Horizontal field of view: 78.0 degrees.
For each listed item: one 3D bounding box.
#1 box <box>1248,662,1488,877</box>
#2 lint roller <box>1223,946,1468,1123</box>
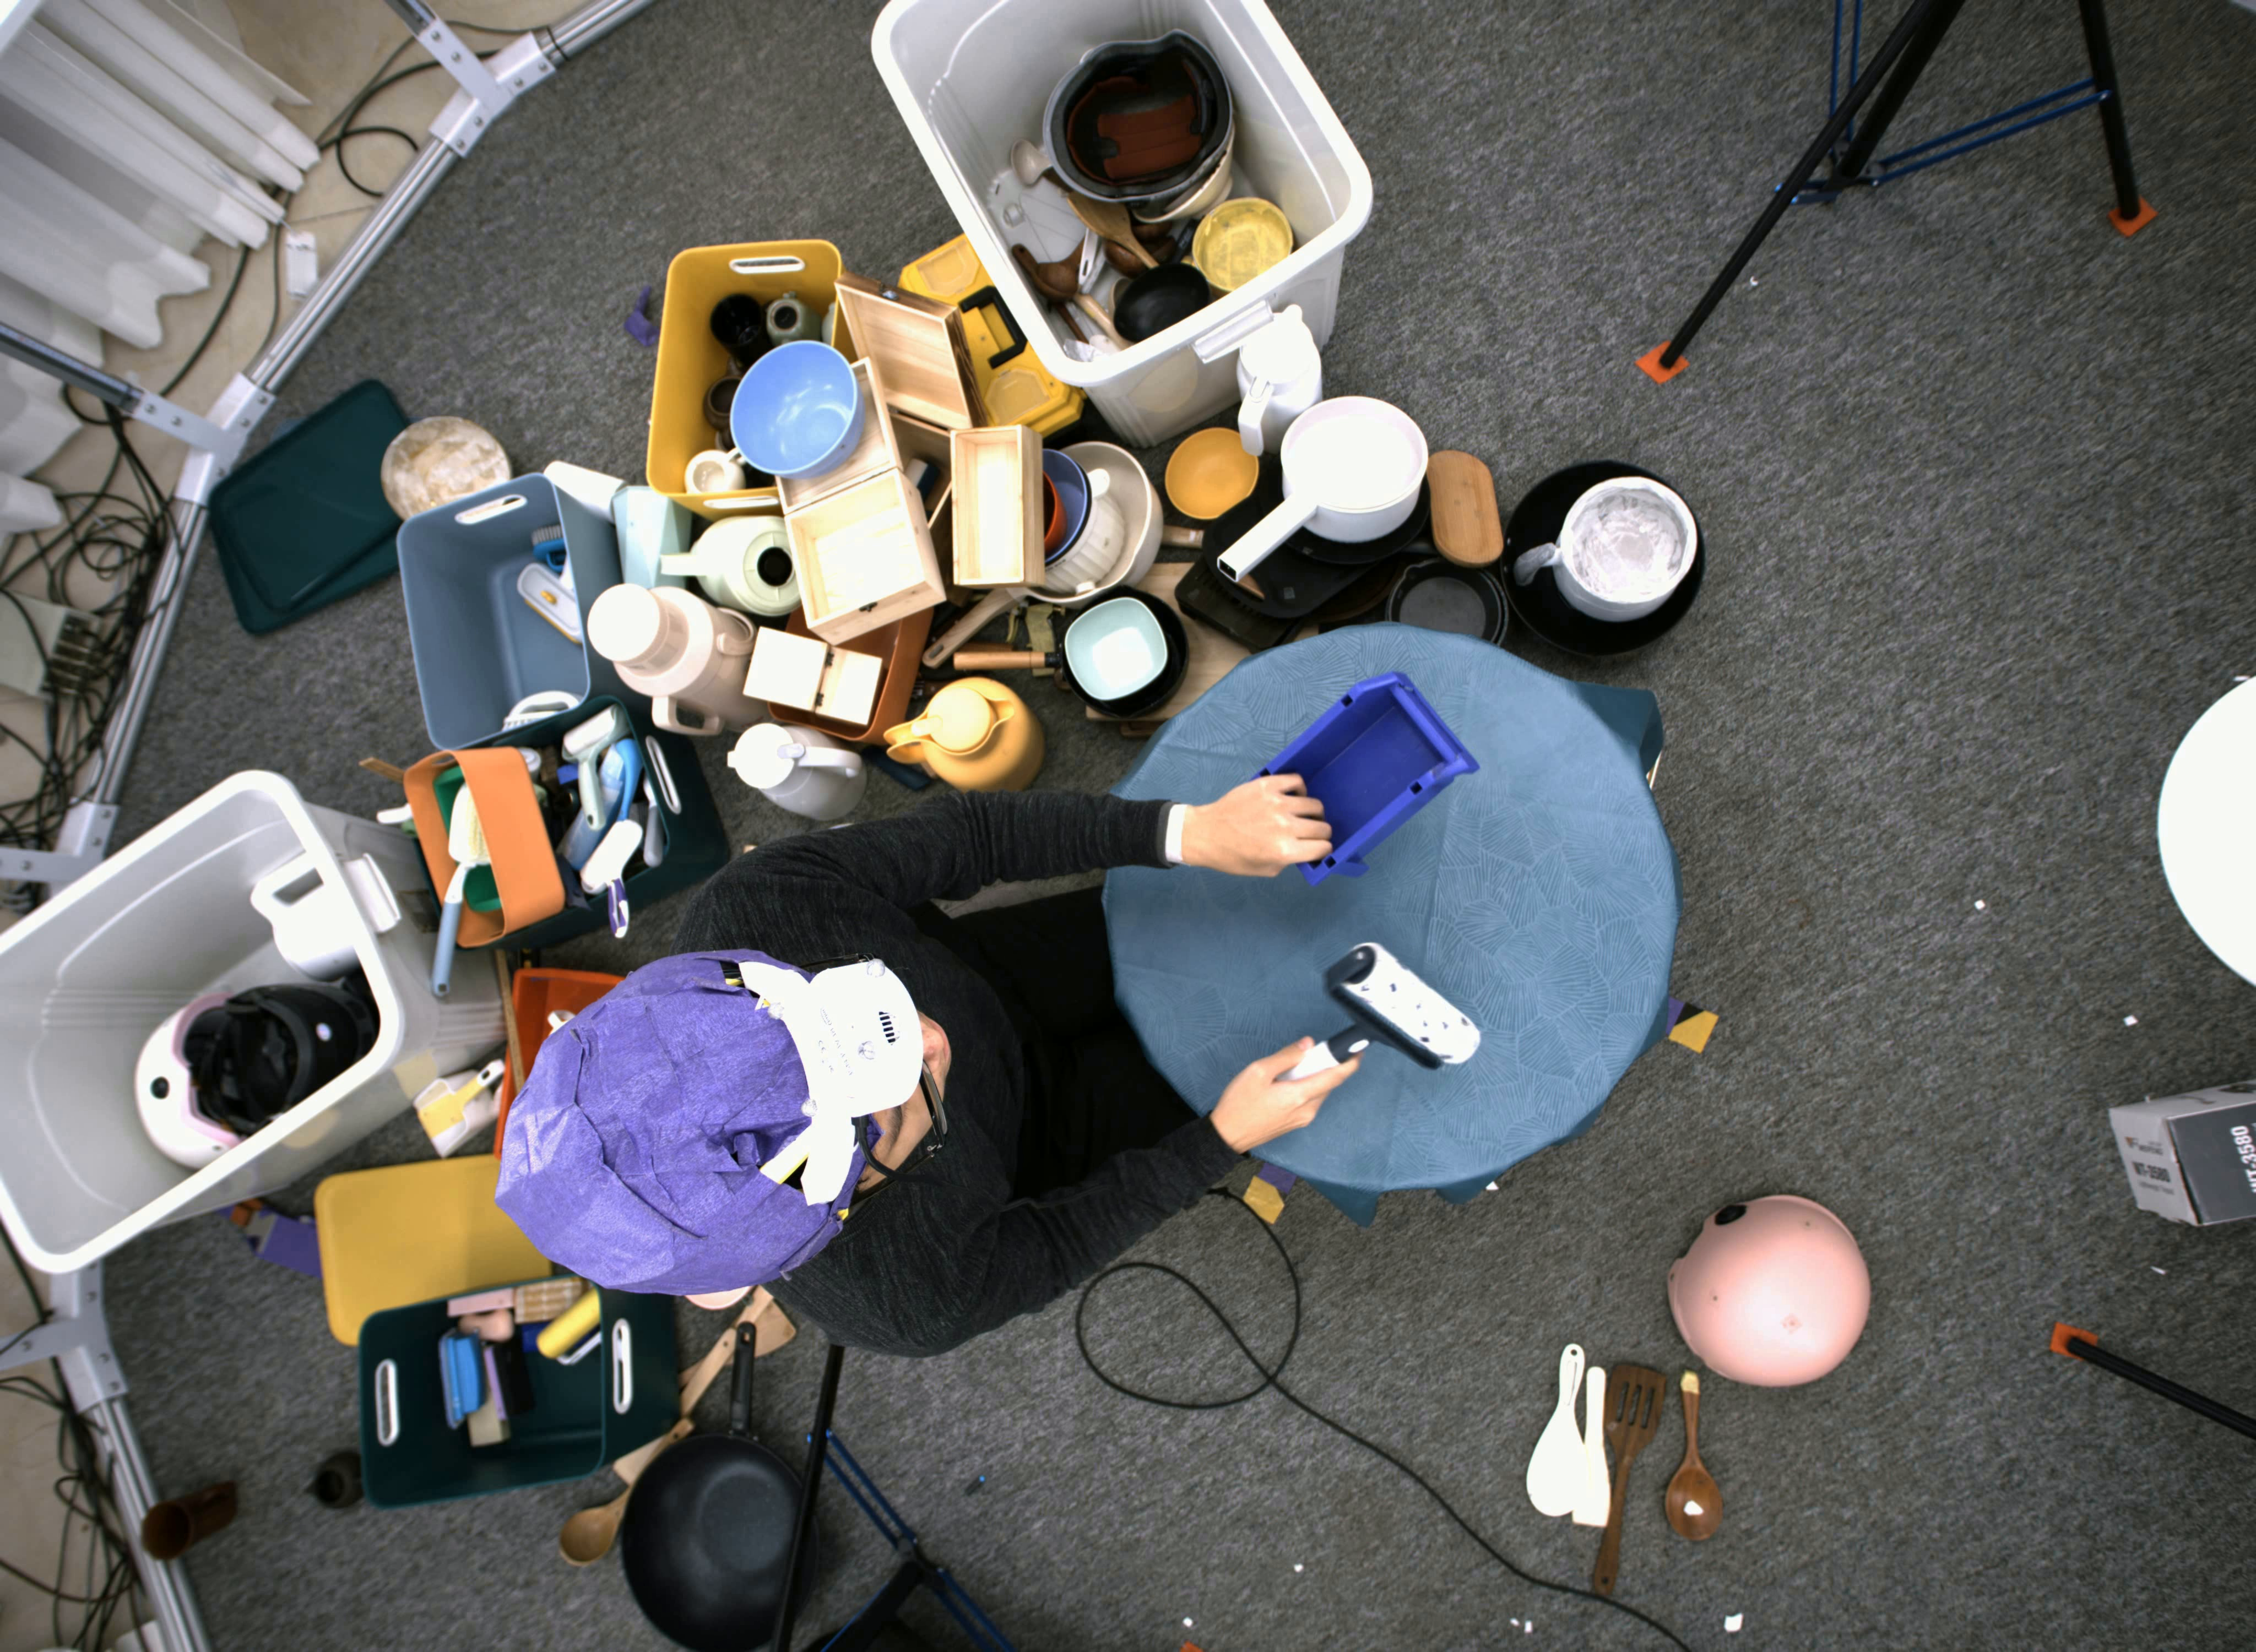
[{"bbox_3d":[0.222,-0.055,1.277,0.183,0.081,0.123,-43,65,26],"label":"box"},{"bbox_3d":[0.190,0.226,1.351,0.251,0.177,0.049,-41,36,25],"label":"lint roller"}]
